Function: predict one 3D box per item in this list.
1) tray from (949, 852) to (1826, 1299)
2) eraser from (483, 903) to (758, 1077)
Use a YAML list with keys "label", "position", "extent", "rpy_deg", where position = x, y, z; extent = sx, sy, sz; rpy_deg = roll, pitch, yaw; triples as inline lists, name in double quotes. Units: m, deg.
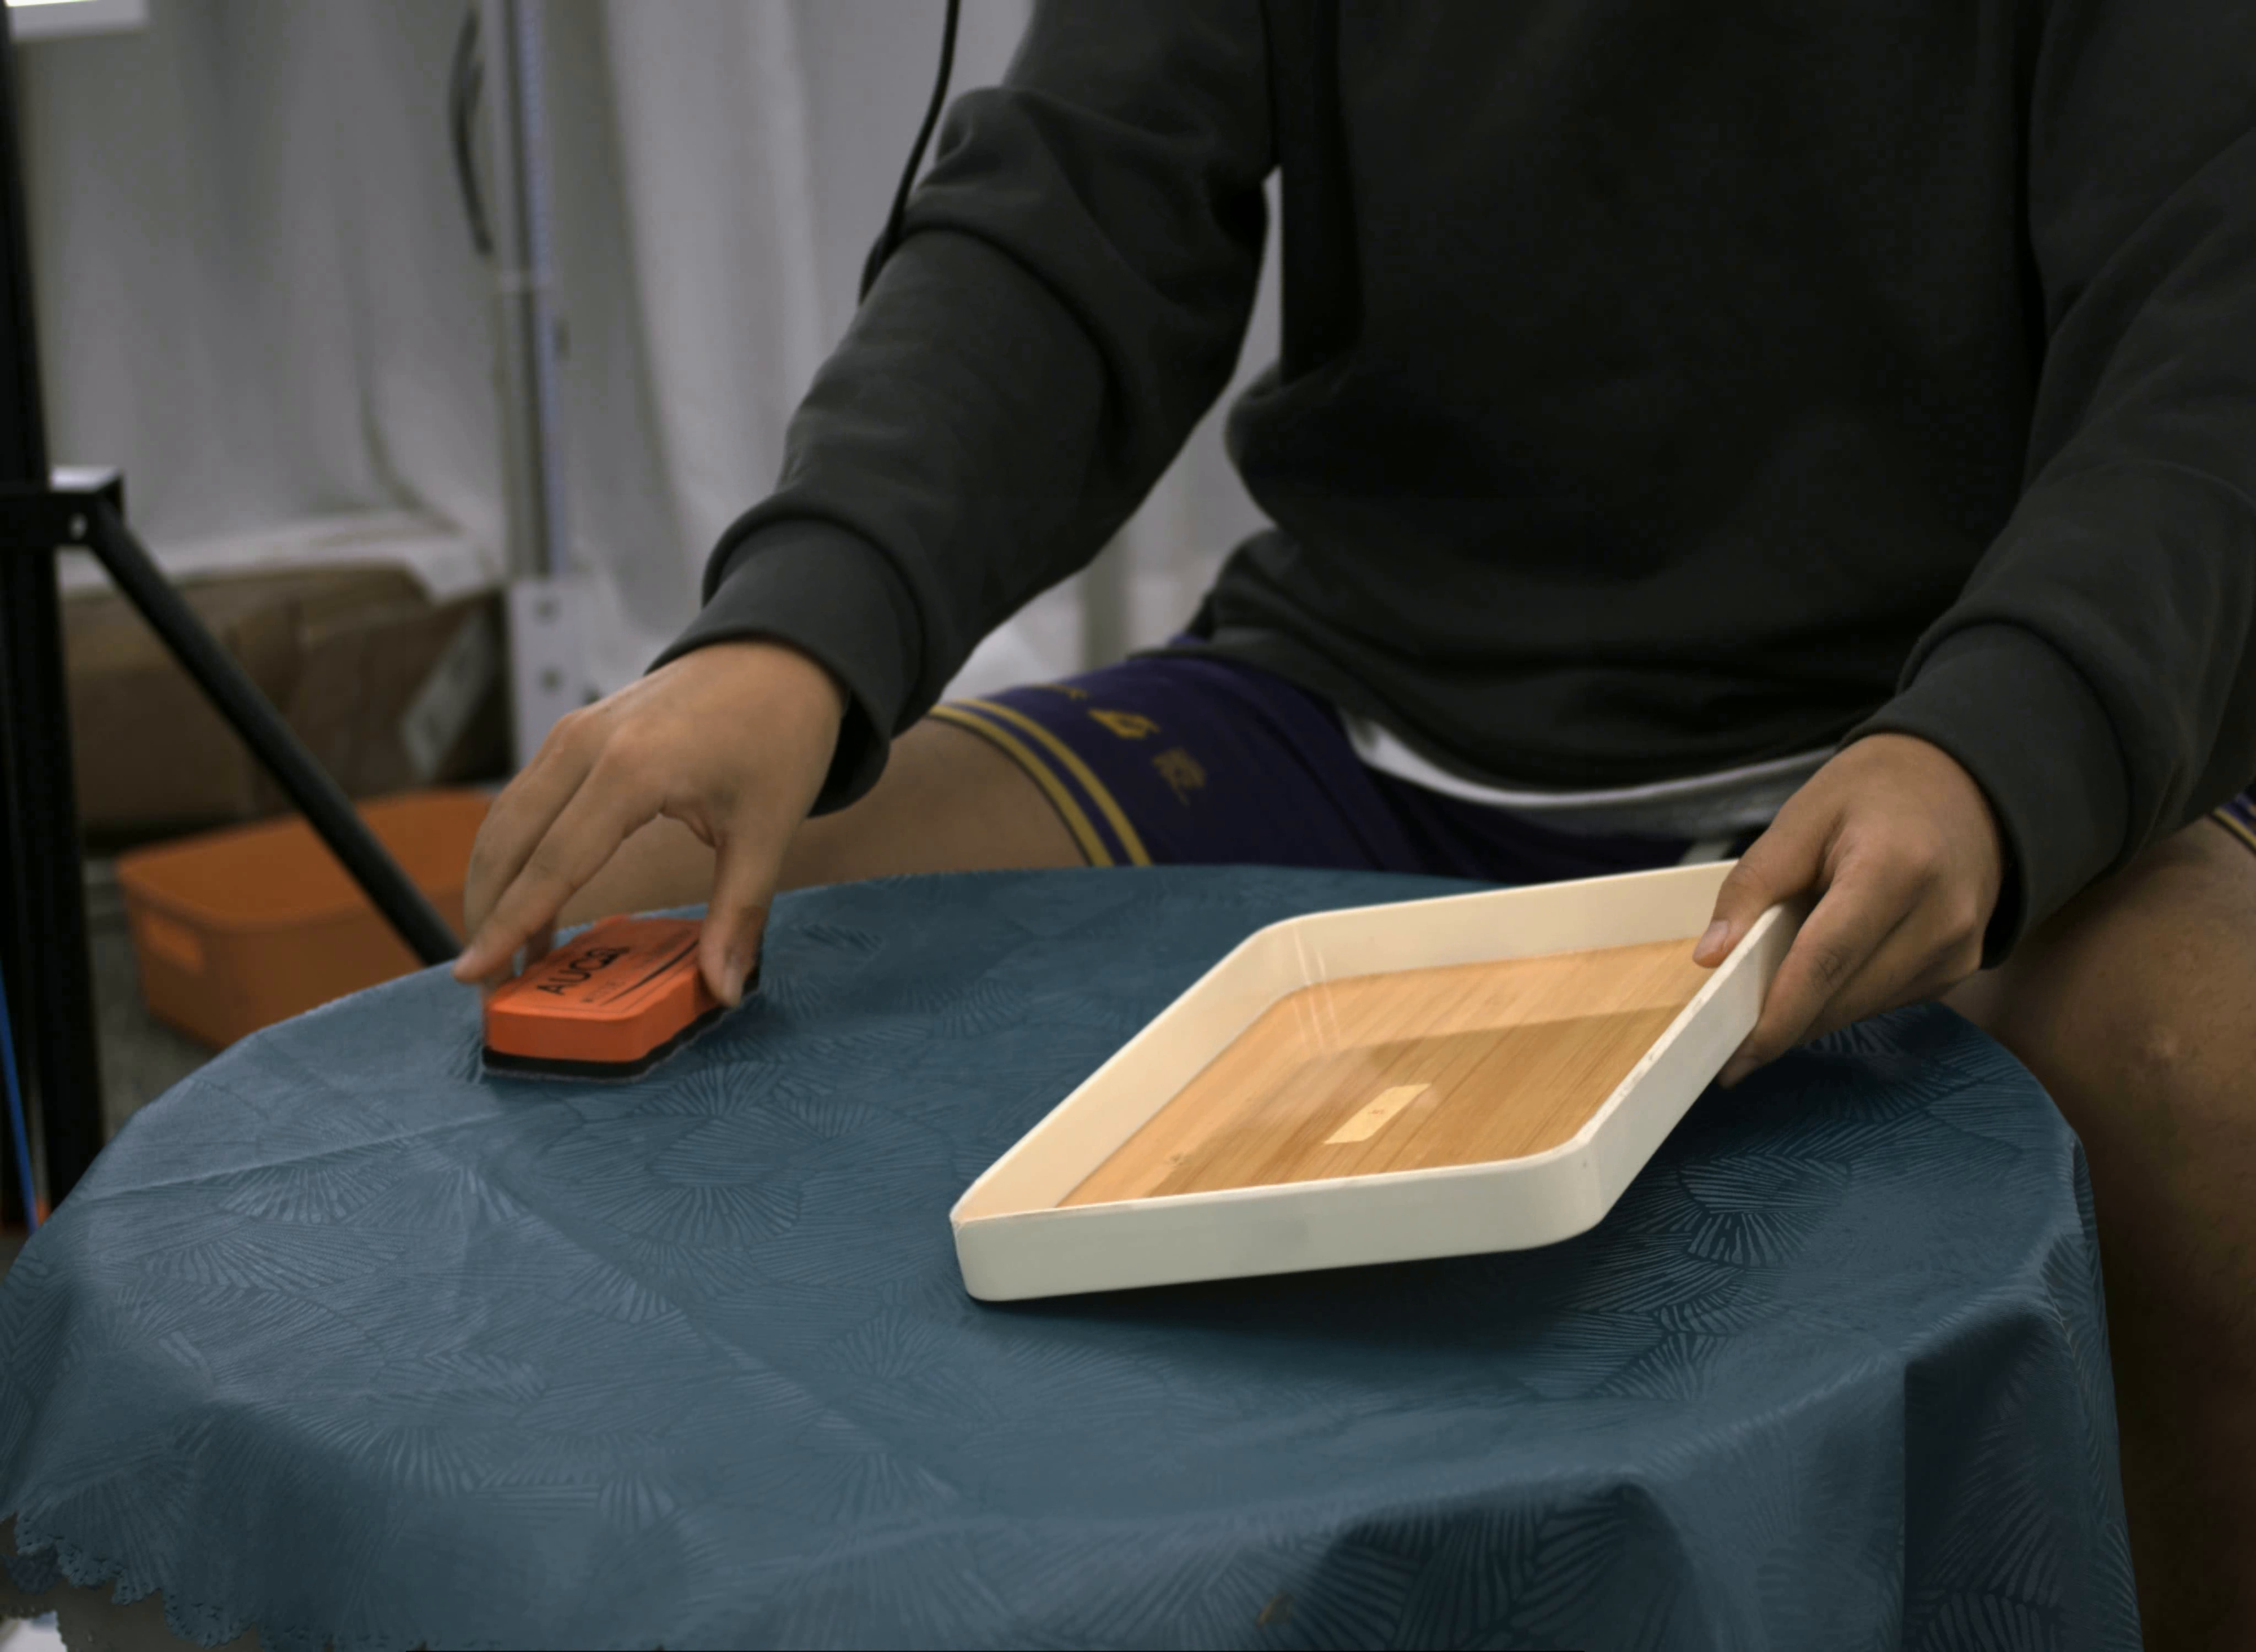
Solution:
- label: "tray"
  position: [0.084, 0.071, 1.565]
  extent: [0.194, 0.027, 0.296]
  rpy_deg: [-8, 13, 24]
- label: "eraser"
  position: [-0.164, 0.053, 1.730]
  extent: [0.059, 0.023, 0.107]
  rpy_deg: [10, 17, 18]
